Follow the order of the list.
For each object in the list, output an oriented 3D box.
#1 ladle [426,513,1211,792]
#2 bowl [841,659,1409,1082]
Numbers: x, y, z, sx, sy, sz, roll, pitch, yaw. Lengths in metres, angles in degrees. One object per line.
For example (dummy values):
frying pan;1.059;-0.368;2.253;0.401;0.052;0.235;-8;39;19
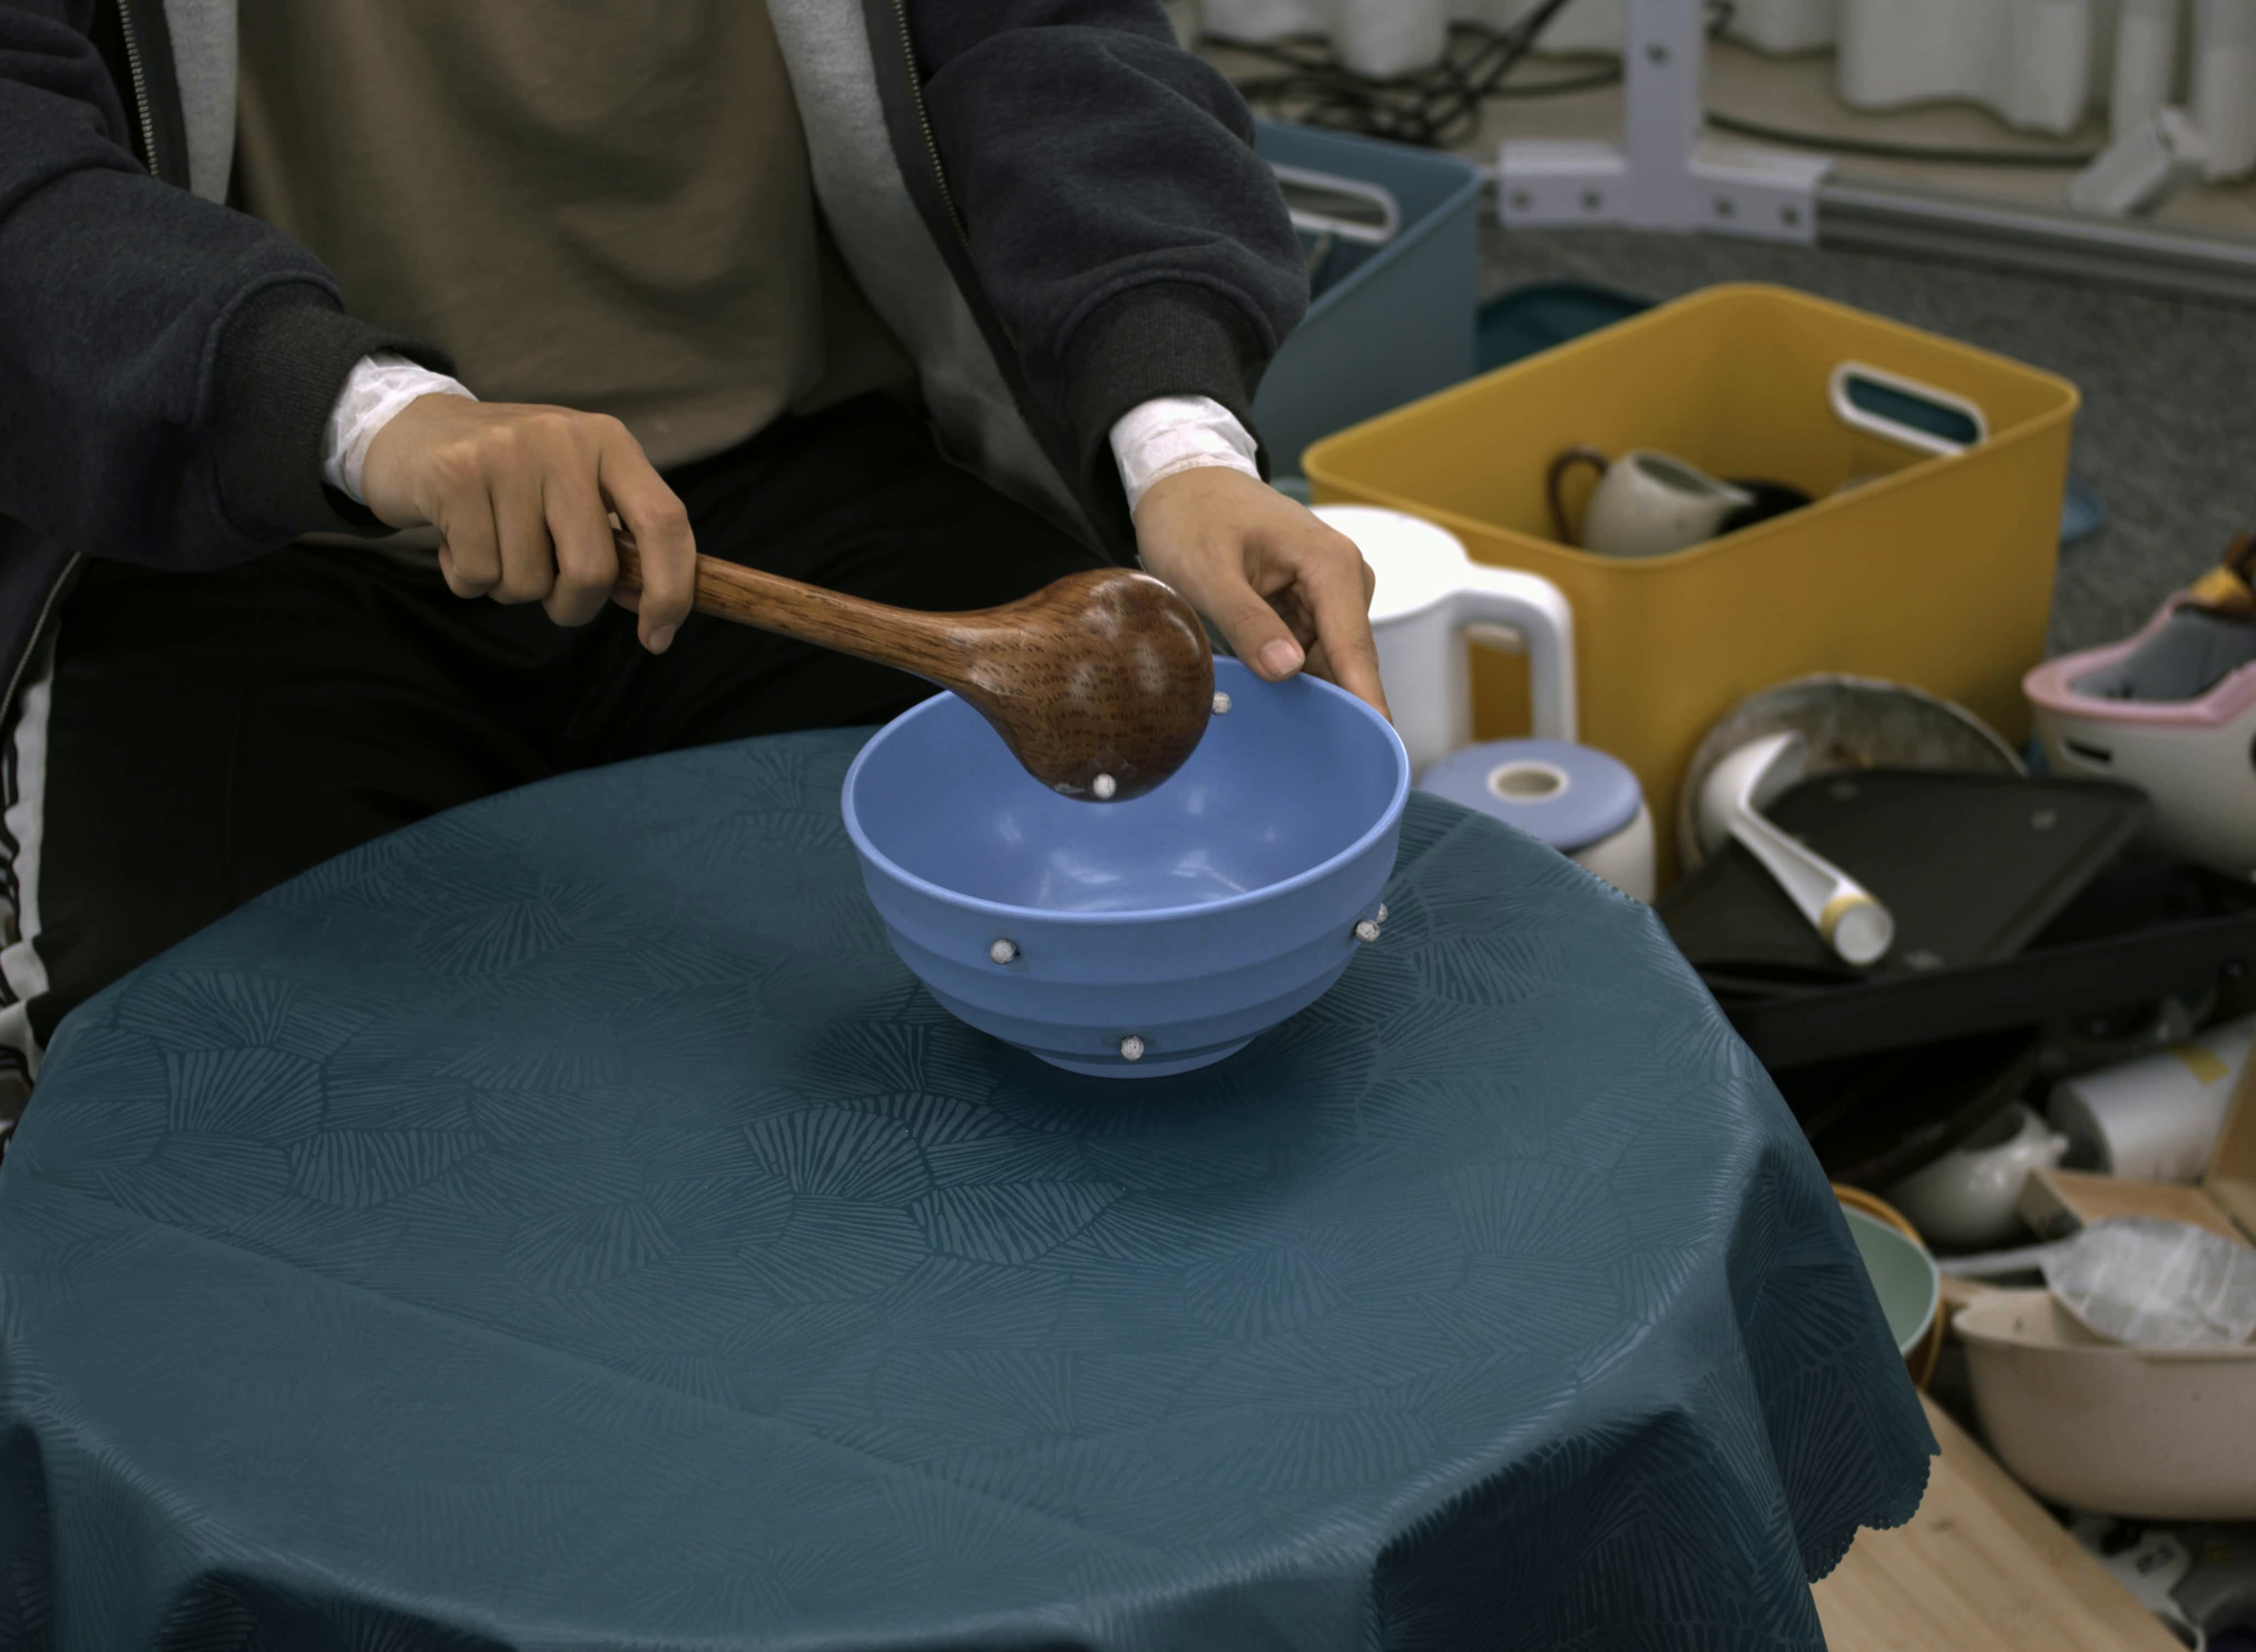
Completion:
ladle;-0.104;-0.073;1.936;0.272;0.082;0.077;12;0;19
bowl;0.002;0.025;1.947;0.195;0.094;0.199;-3;26;2
